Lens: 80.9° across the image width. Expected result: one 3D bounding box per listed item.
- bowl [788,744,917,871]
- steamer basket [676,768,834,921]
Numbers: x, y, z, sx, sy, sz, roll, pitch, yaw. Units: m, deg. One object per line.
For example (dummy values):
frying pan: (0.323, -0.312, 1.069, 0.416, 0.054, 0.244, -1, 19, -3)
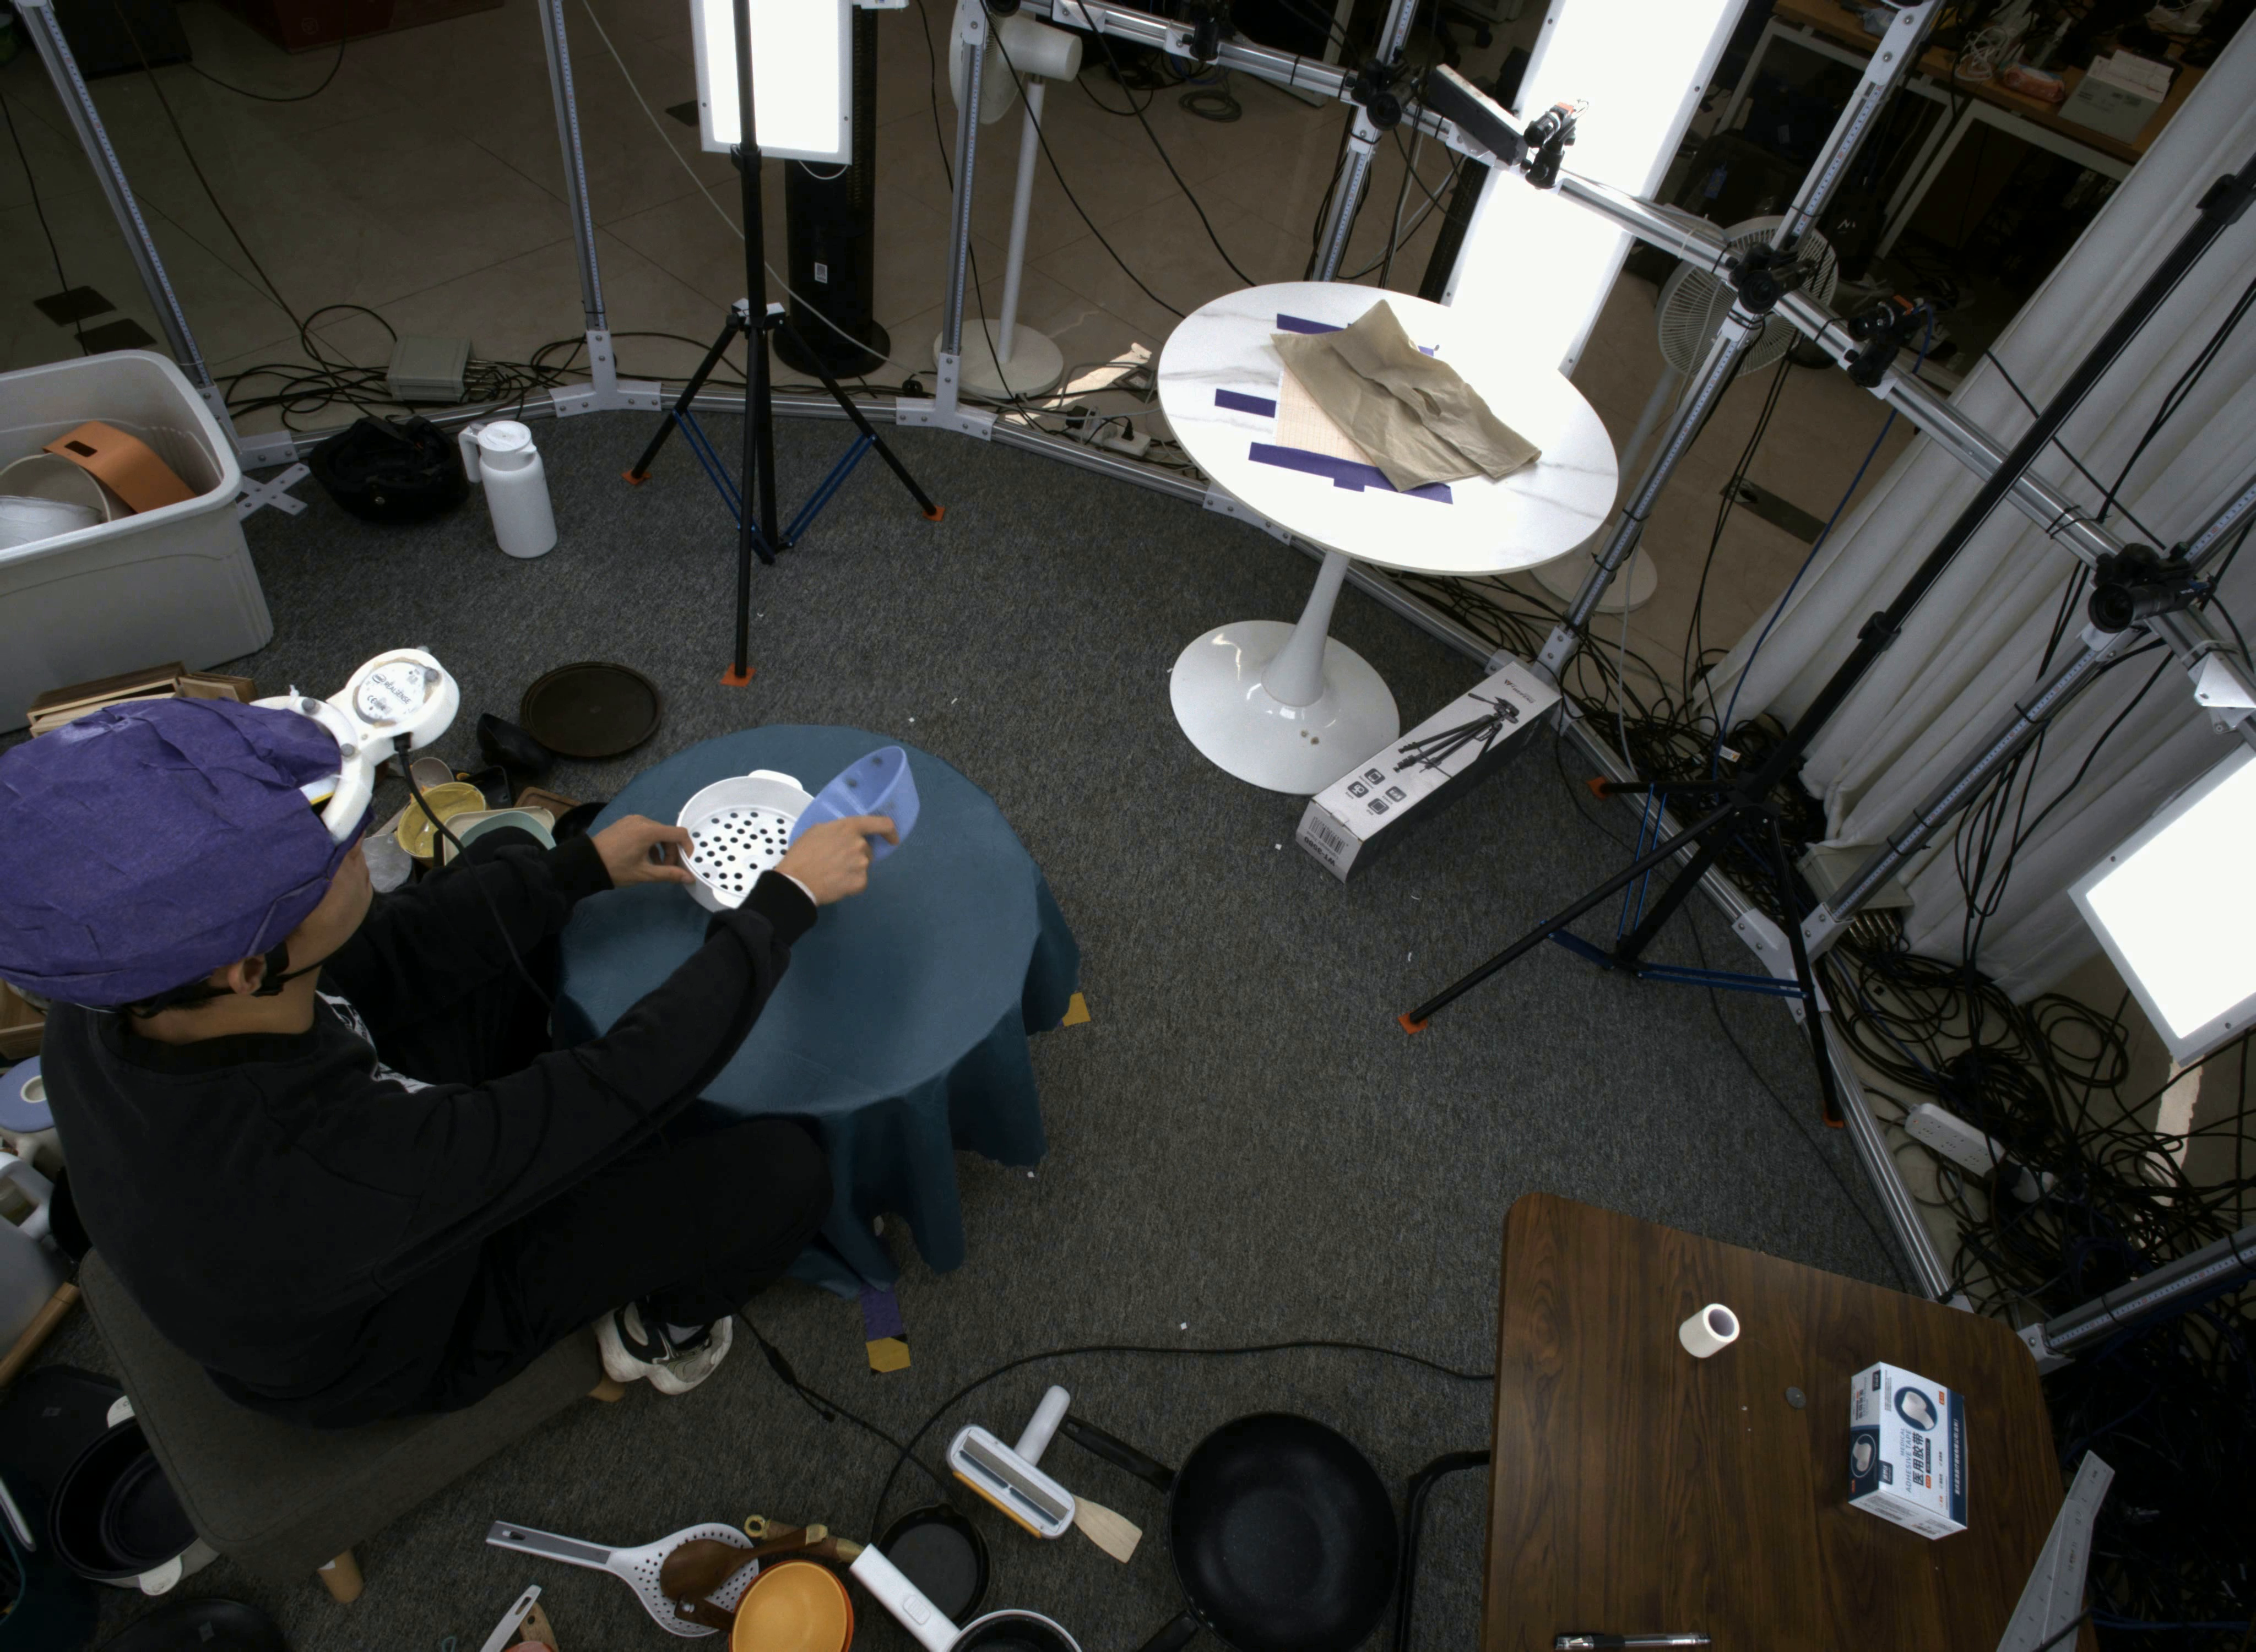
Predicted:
bowl: (-0.313, -0.012, 1.527, 0.072, 0.171, 0.174, 51, 45, -27)
steamer basket: (-0.470, 0.027, 1.639, 0.203, 0.070, 0.226, 14, 45, -15)
